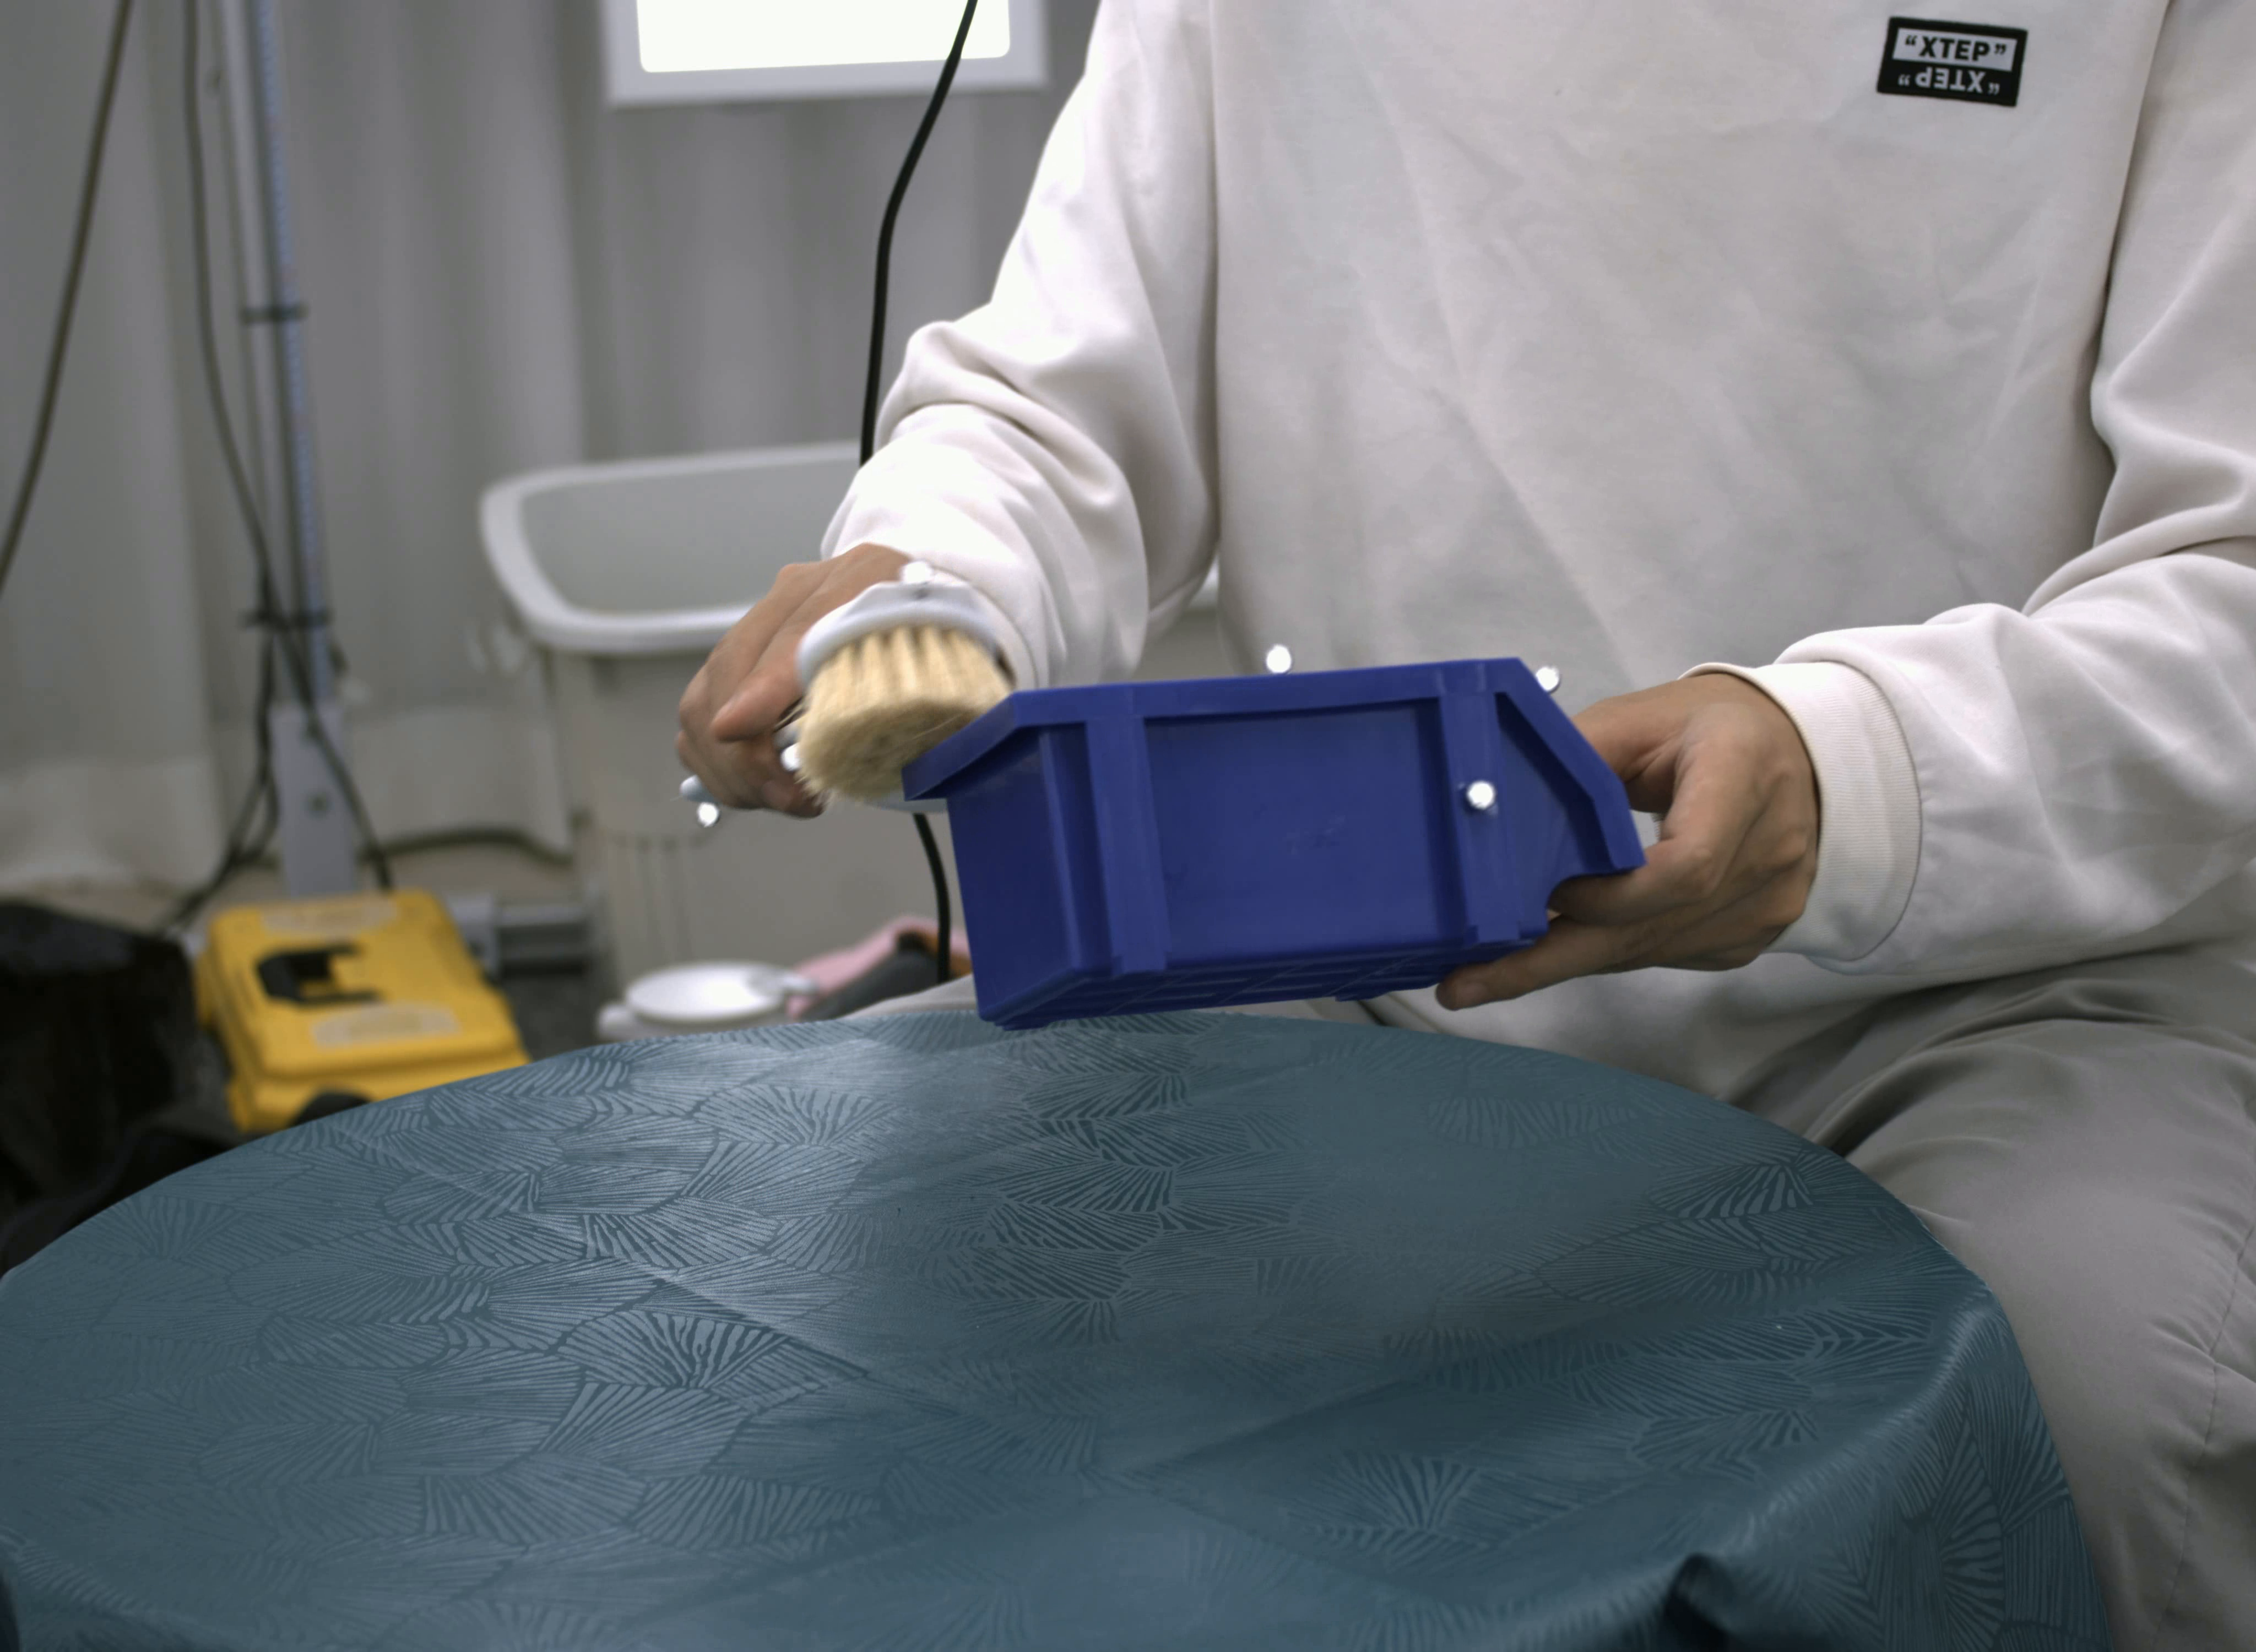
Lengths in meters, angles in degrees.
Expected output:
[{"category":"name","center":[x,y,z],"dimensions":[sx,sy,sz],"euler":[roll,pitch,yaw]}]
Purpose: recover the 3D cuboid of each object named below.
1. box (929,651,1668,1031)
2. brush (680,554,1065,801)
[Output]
[{"category":"box","center":[0.047,0.005,1.570],"dimensions":[0.178,0.082,0.124],"euler":[-6,-8,-18]},{"category":"brush","center":[-0.088,-0.021,1.699],"dimensions":[0.068,0.057,0.265],"euler":[3,-16,-21]}]
